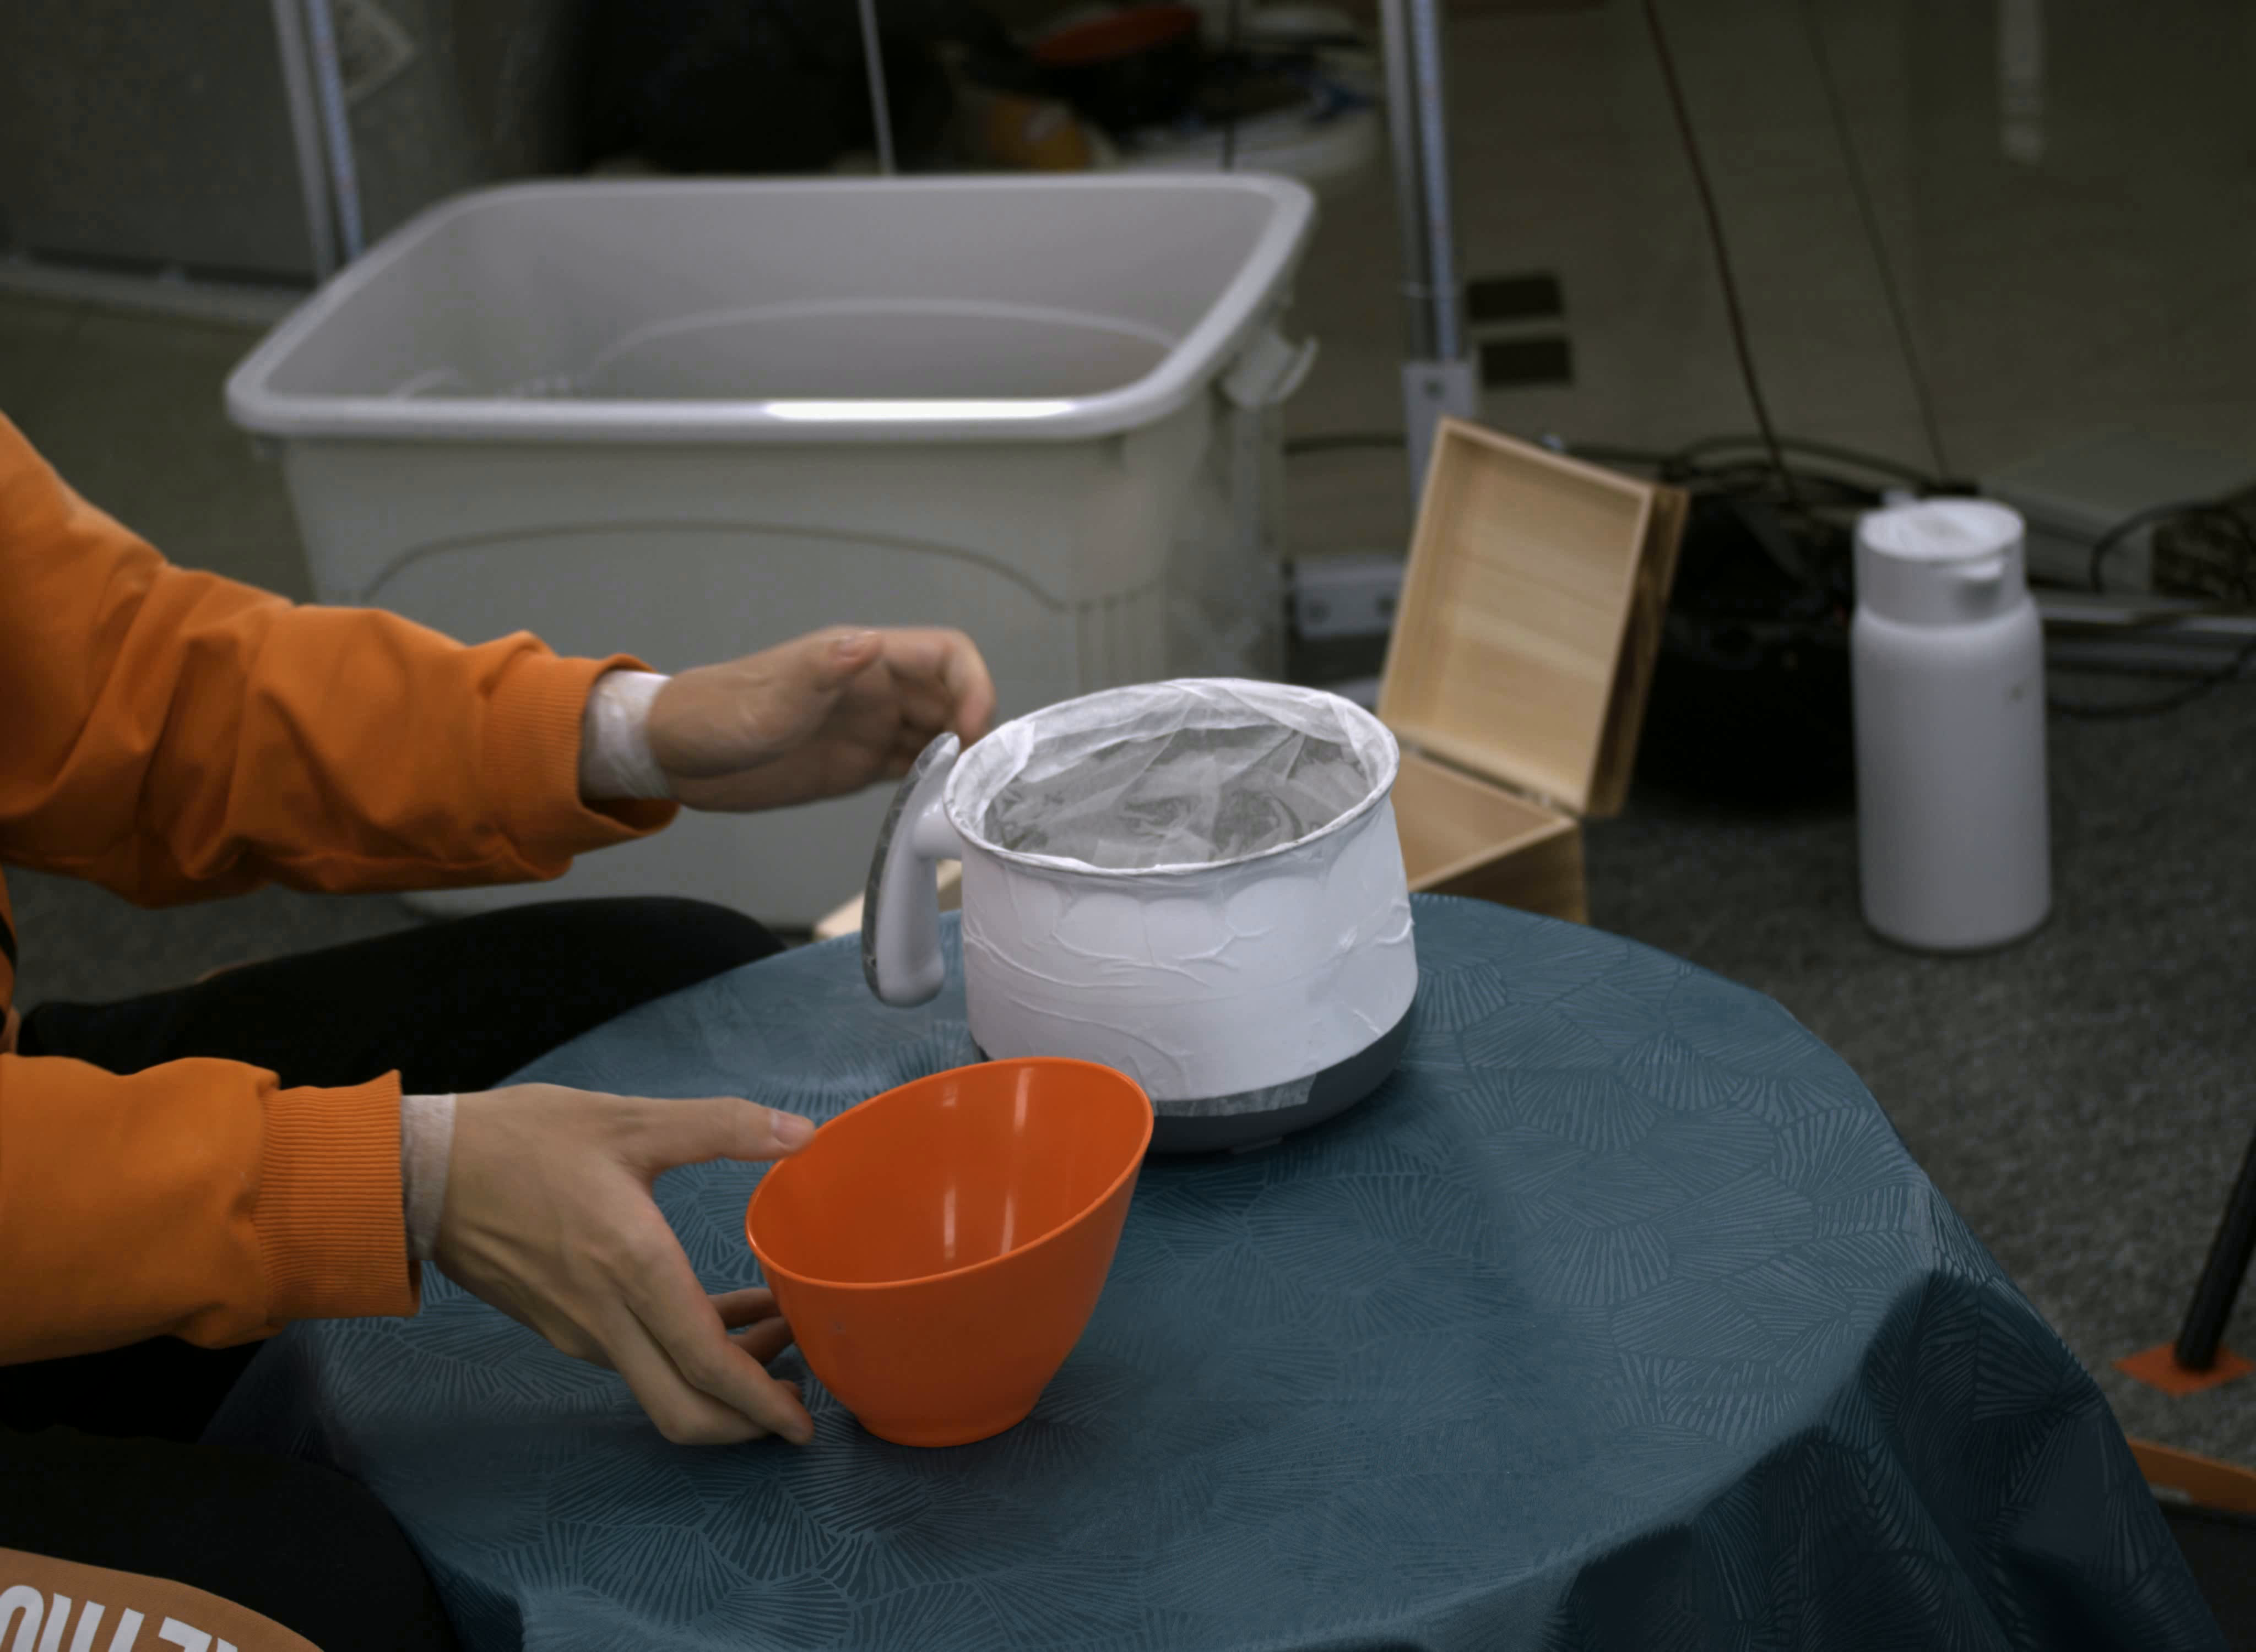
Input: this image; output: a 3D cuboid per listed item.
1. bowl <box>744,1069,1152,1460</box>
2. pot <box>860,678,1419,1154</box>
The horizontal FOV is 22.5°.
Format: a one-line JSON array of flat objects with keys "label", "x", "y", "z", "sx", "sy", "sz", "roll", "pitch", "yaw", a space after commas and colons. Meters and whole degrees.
[{"label": "bowl", "x": -0.058, "y": 0.161, "z": 2.001, "sx": 0.148, "sy": 0.106, "sz": 0.146, "roll": -7, "pitch": 25, "yaw": 3}, {"label": "pot", "x": -0.002, "y": 0.034, "z": 2.208, "sx": 0.233, "sy": 0.139, "sz": 0.176, "roll": 7, "pitch": 28, "yaw": 25}]
